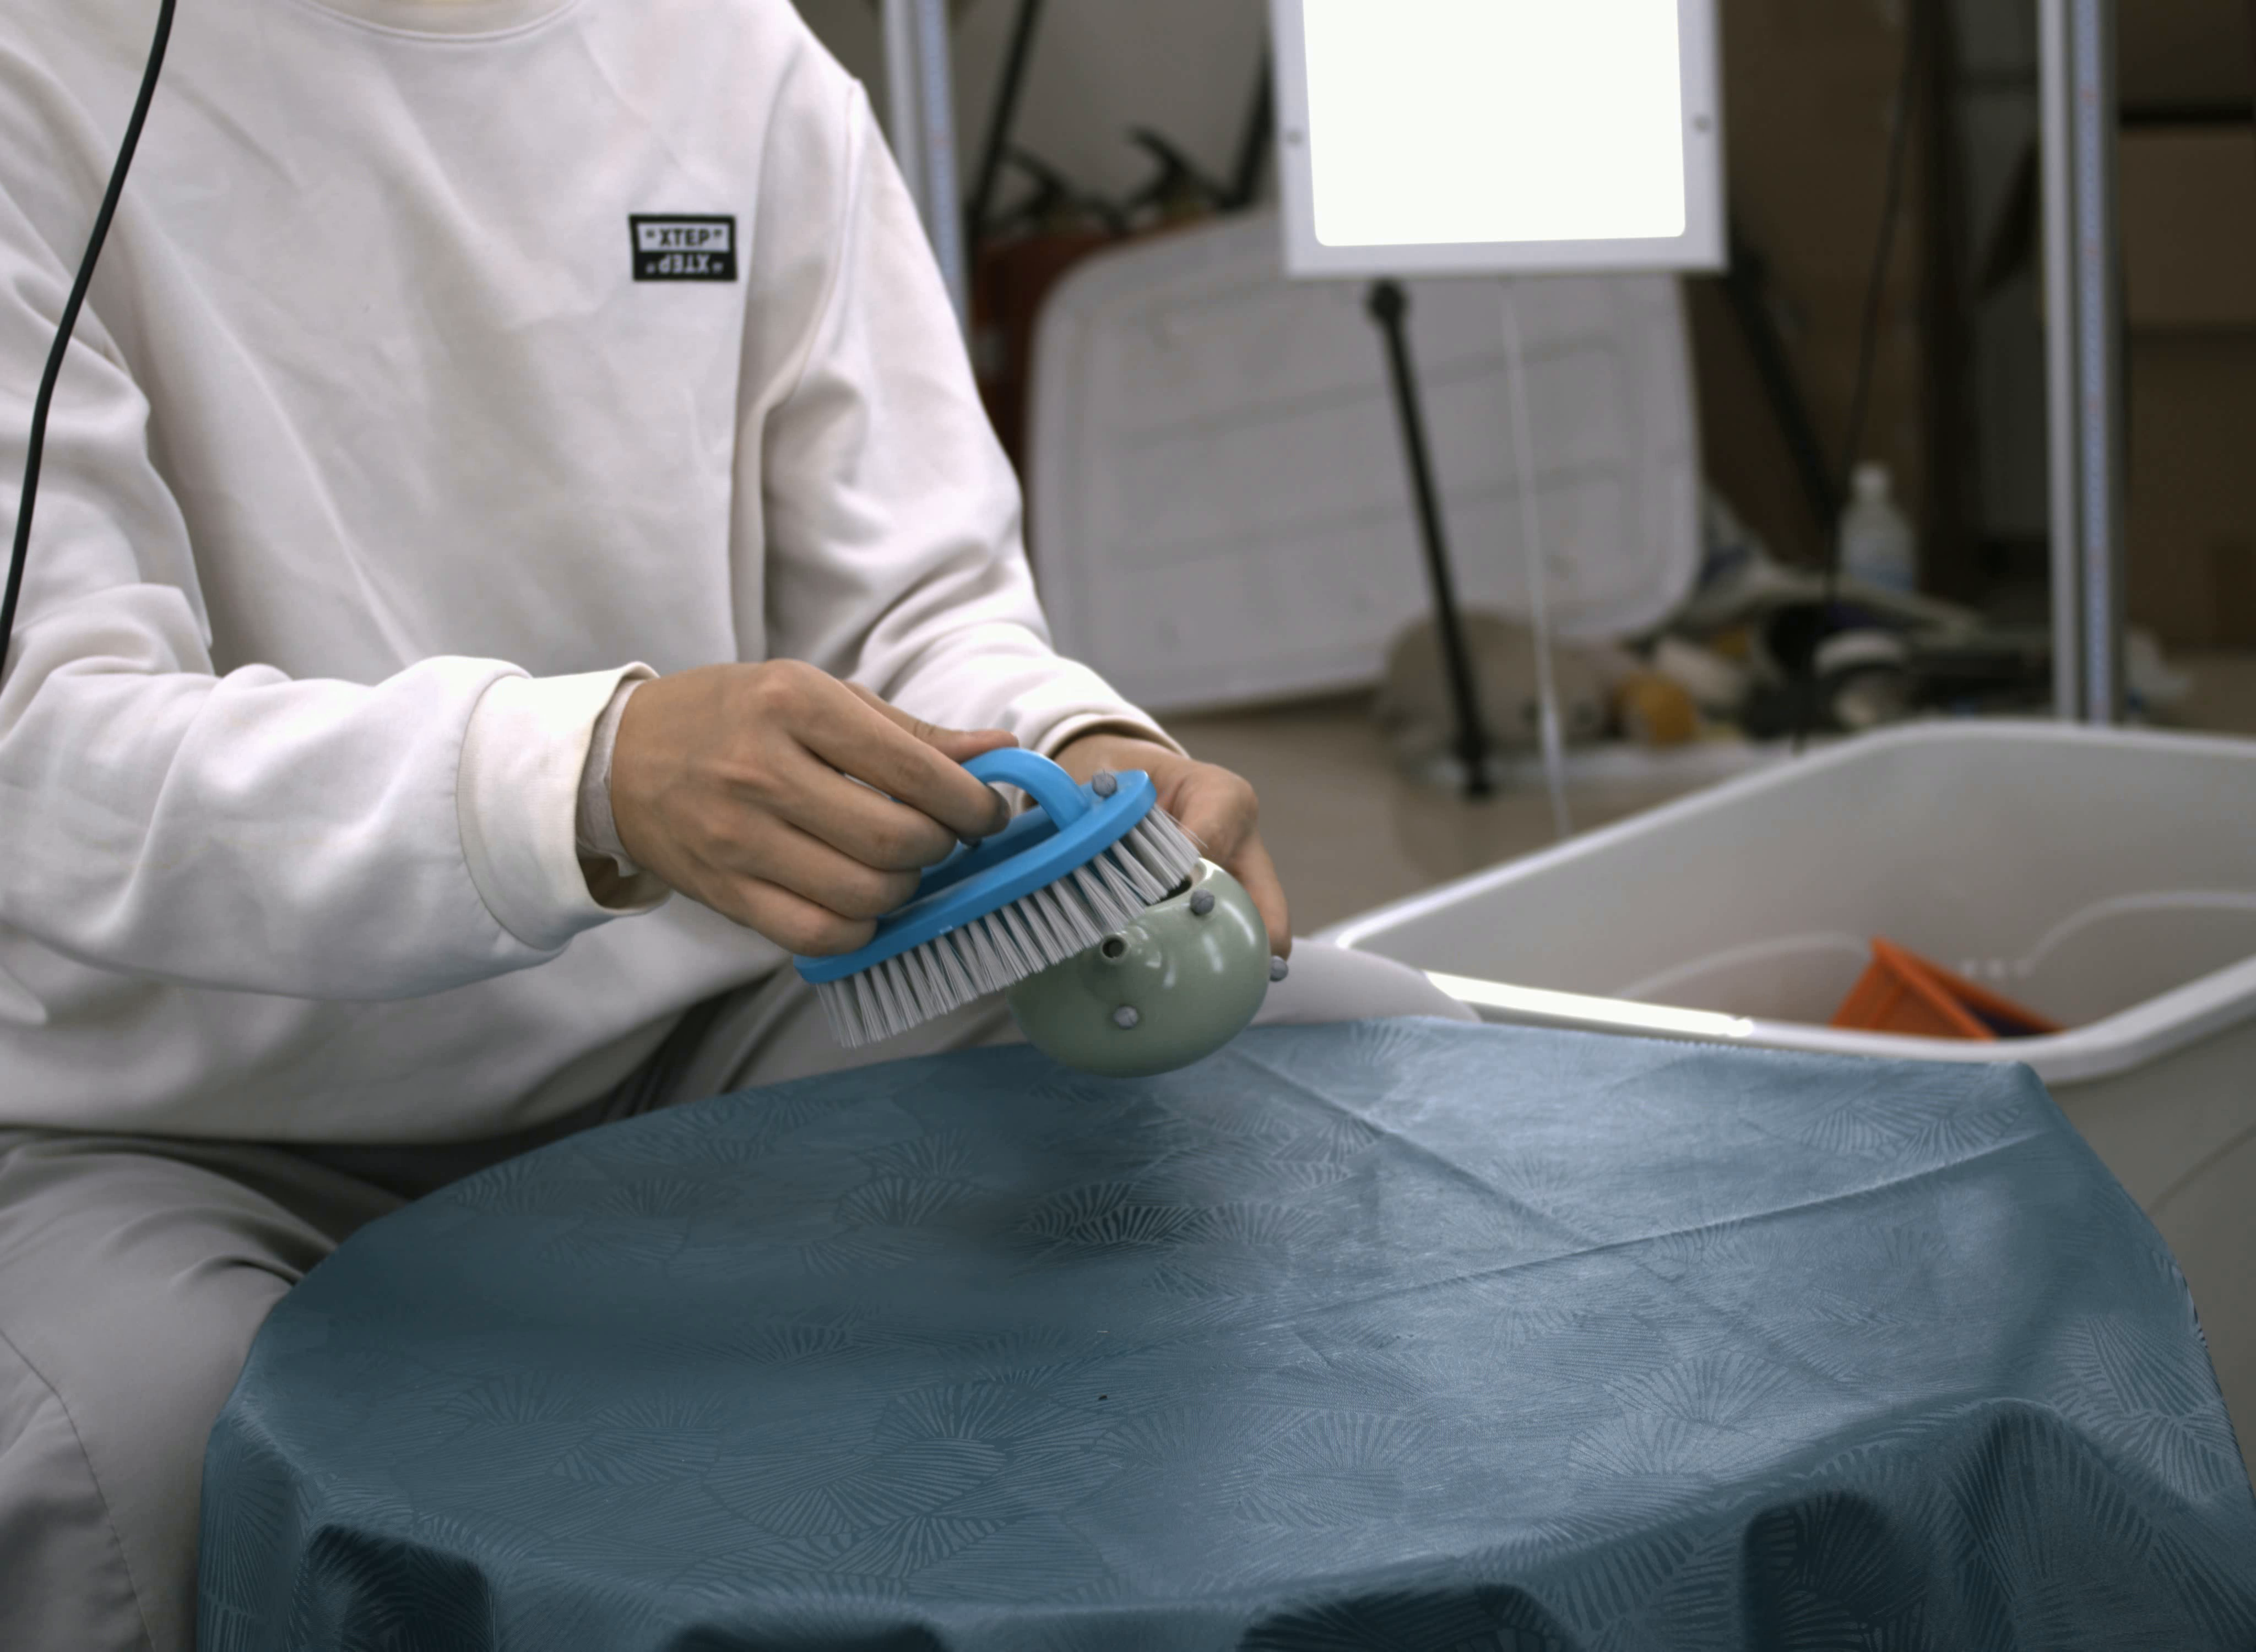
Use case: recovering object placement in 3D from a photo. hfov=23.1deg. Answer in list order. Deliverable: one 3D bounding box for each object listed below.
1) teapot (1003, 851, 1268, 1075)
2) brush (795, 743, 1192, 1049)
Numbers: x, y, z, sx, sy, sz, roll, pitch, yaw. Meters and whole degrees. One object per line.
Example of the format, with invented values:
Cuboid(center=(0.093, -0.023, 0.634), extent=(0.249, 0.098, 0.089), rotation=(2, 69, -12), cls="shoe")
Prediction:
Cuboid(center=(0.004, 0.043, 1.875), extent=(0.092, 0.061, 0.127), rotation=(-9, 18, 14), cls="teapot")
Cuboid(center=(-0.052, 0.014, 1.779), extent=(0.144, 0.063, 0.083), rotation=(-26, 18, 28), cls="brush")
